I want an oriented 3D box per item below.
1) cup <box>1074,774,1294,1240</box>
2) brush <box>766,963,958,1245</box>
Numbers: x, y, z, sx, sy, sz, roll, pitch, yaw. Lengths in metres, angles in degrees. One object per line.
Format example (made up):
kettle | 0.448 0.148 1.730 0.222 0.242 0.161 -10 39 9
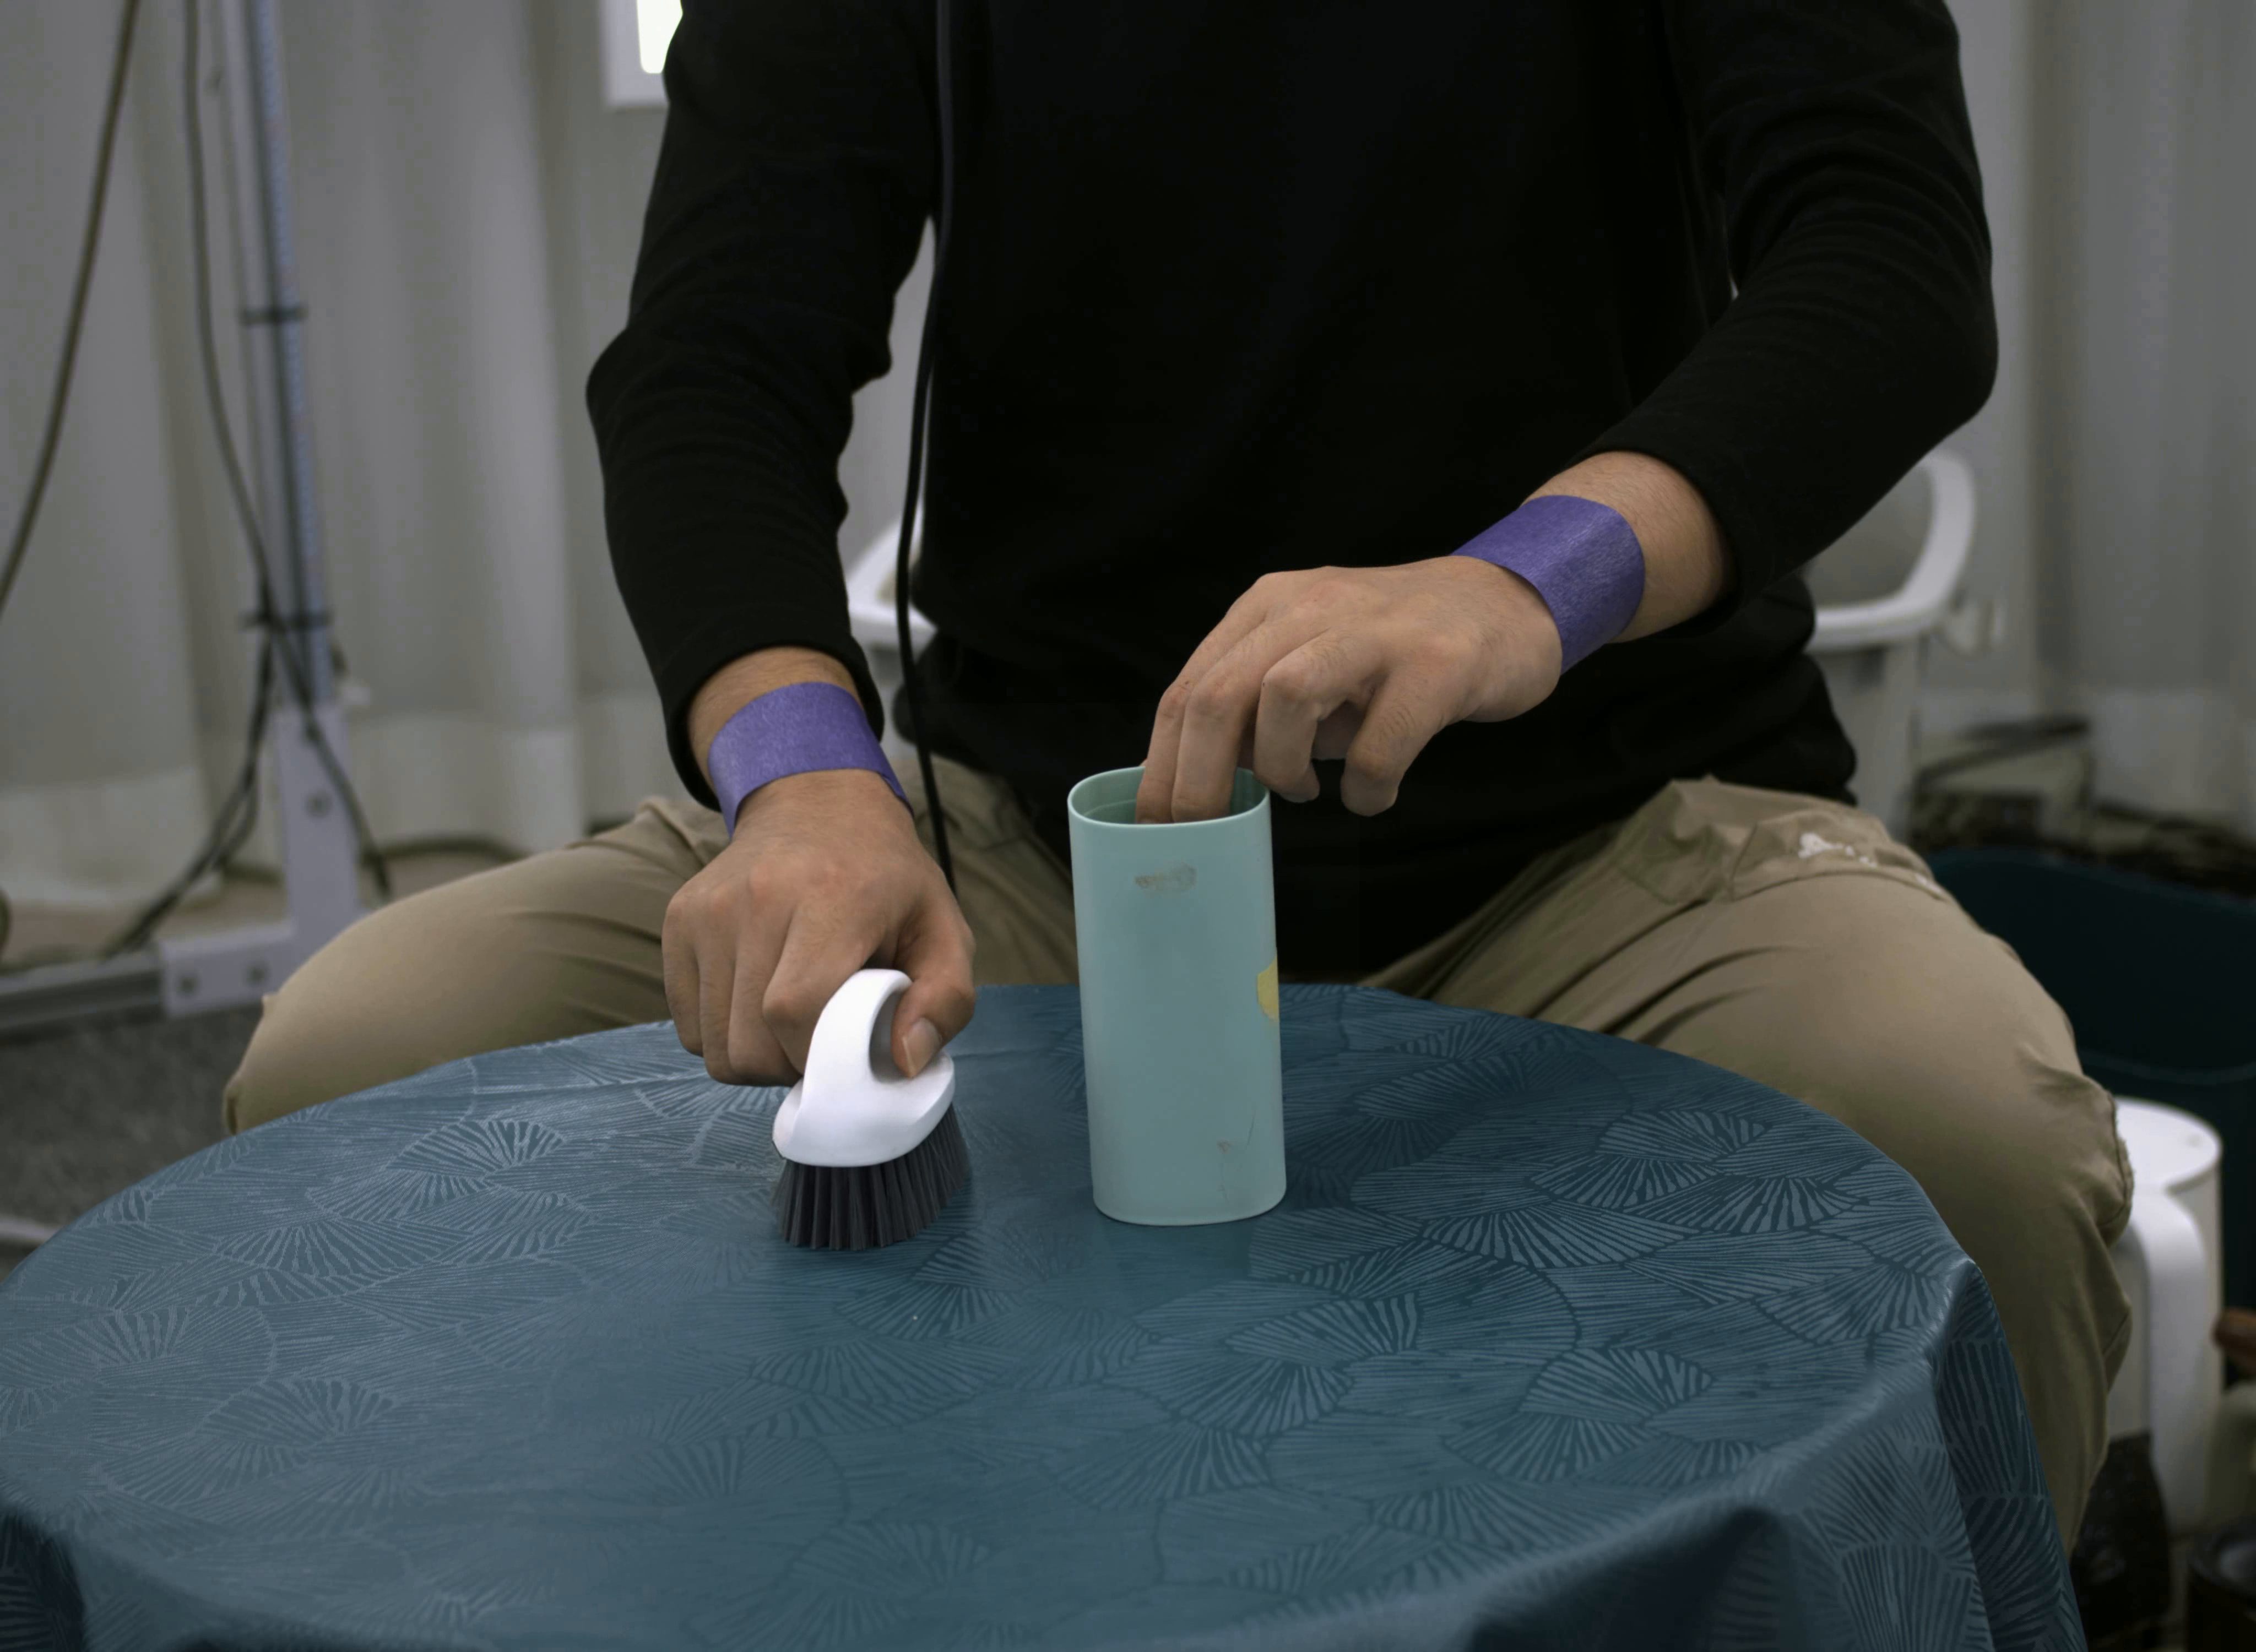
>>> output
cup | 0.017 0.055 1.692 0.066 0.131 0.067 -3 17 1
brush | -0.084 0.082 1.712 0.050 0.072 0.100 2 16 12
